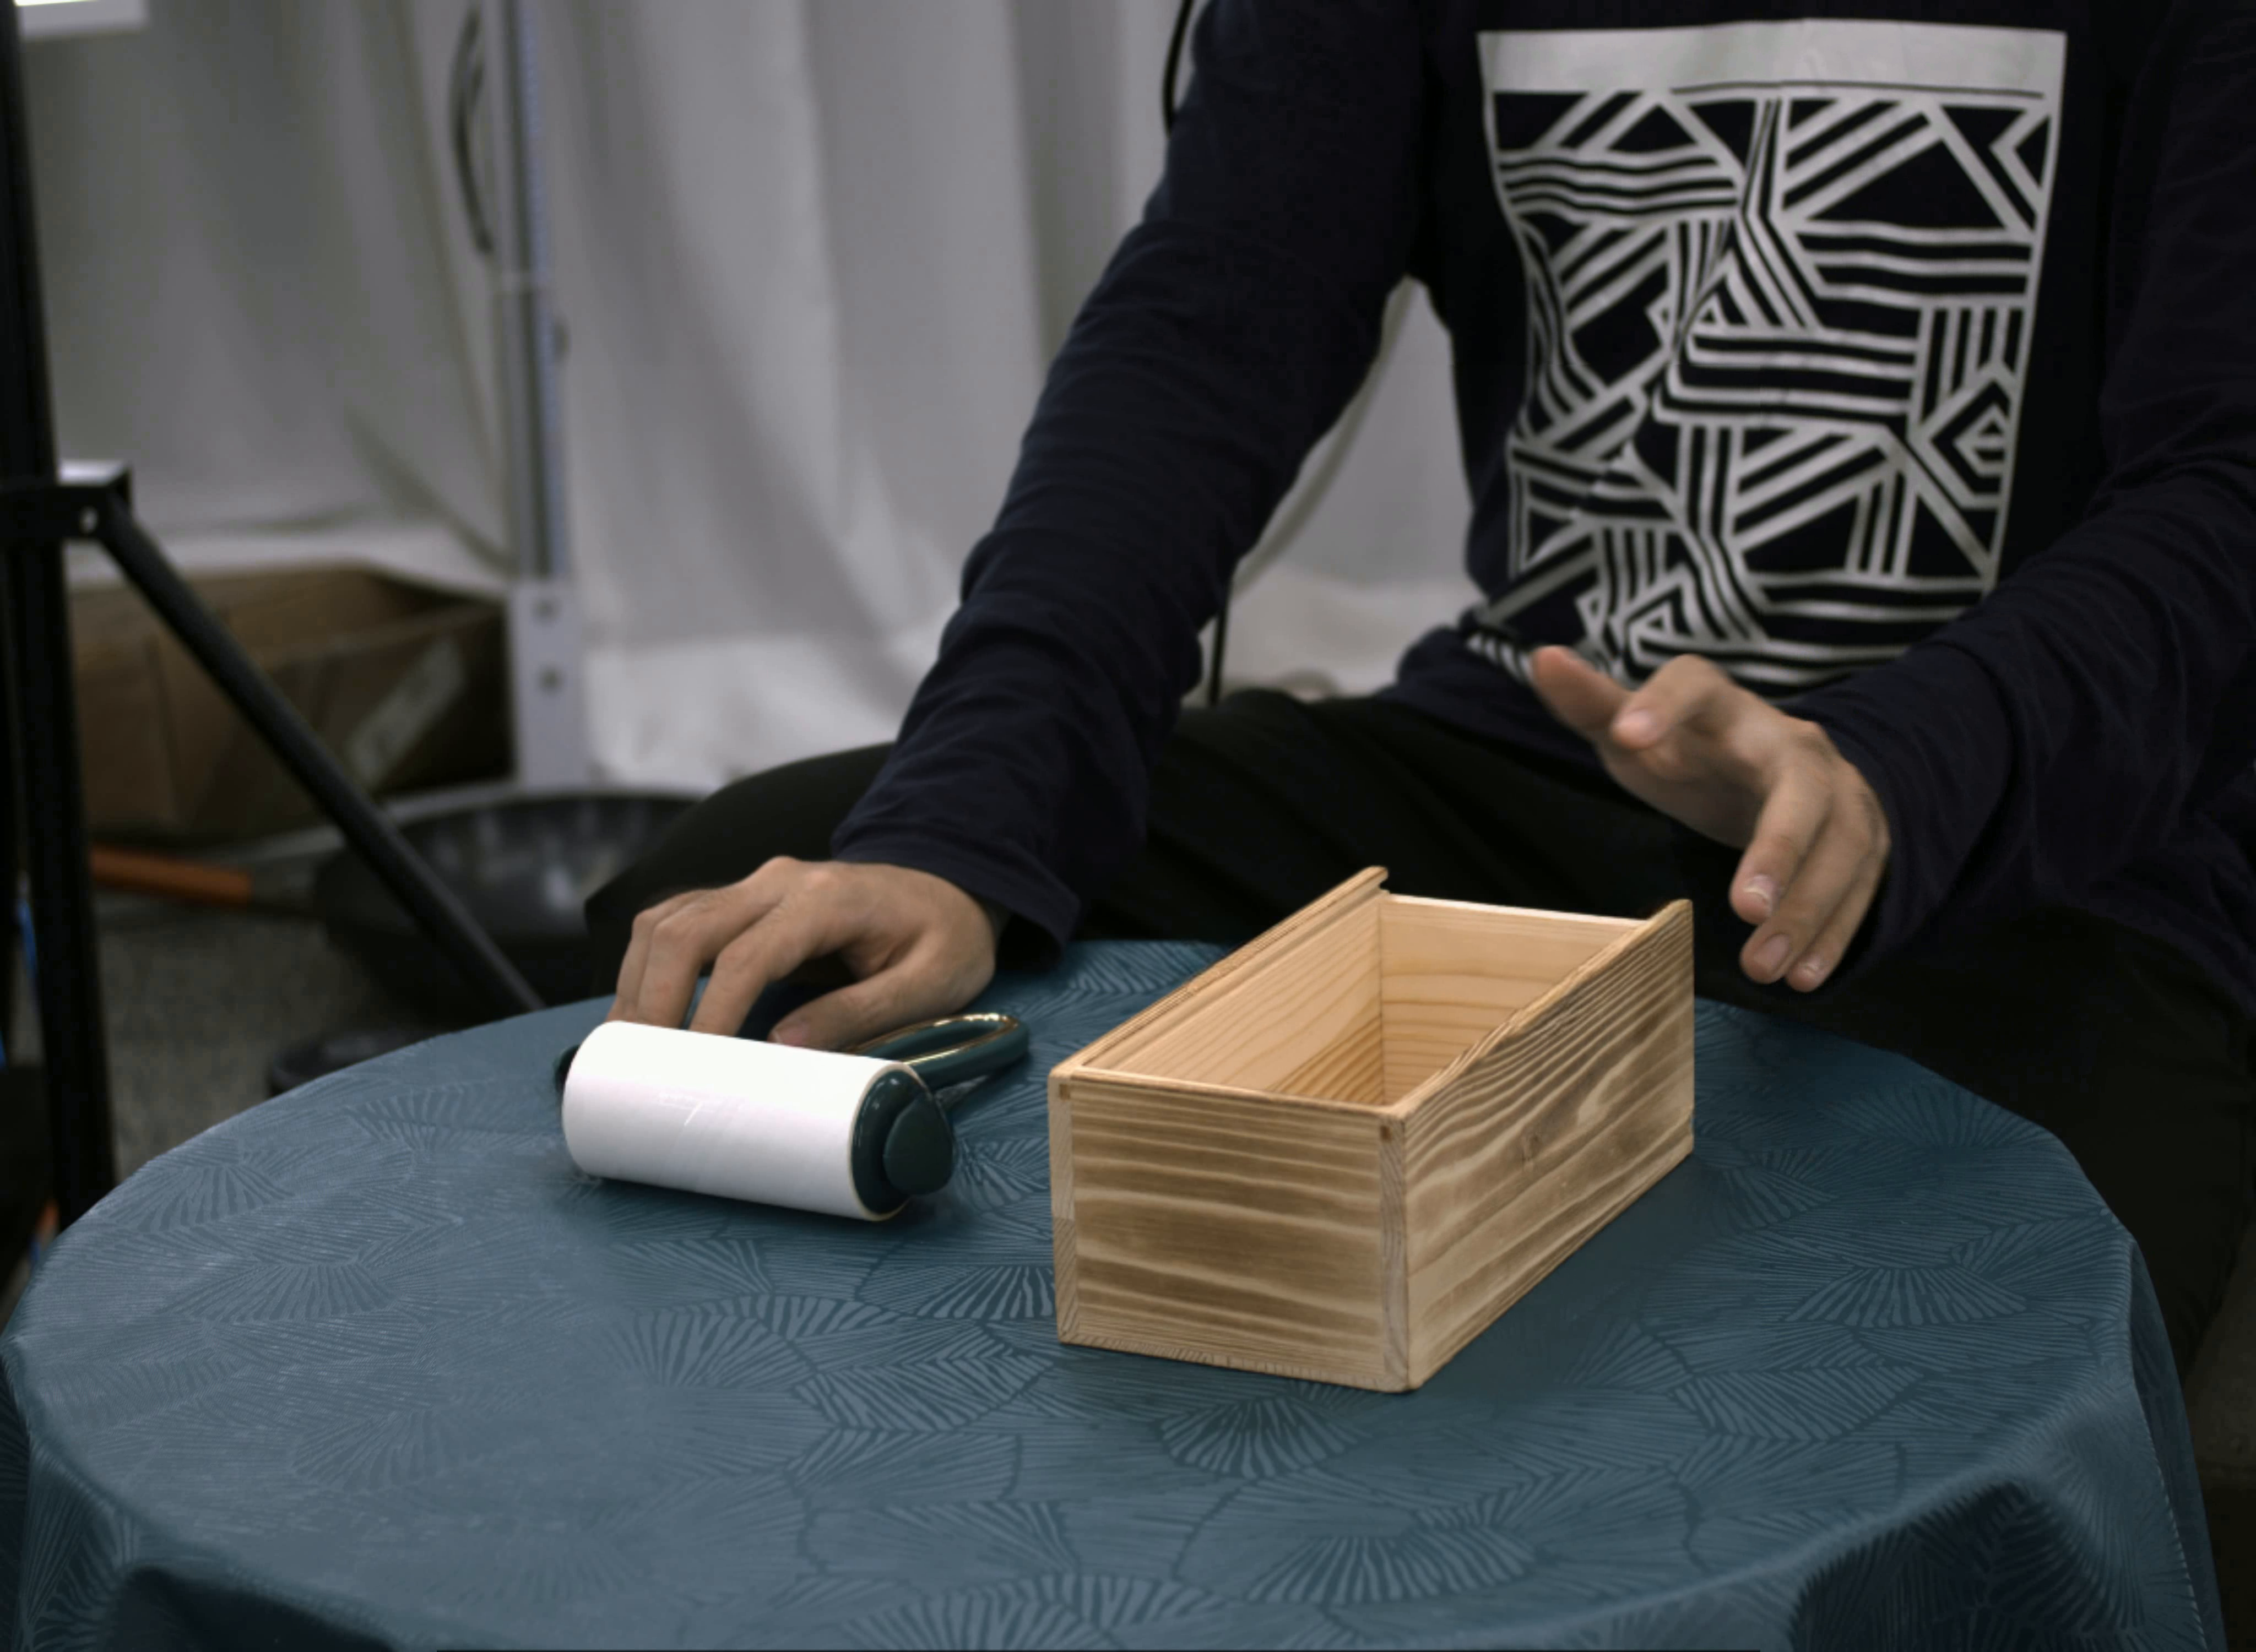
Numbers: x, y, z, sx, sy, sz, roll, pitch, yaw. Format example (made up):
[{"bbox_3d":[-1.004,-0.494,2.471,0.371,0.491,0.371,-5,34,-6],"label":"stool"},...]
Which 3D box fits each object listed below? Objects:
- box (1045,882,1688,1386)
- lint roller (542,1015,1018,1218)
[{"bbox_3d":[0.072,0.082,1.497,0.109,0.080,0.208,5,15,26],"label":"box"},{"bbox_3d":[-0.082,0.073,1.626,0.136,0.048,0.177,7,15,28],"label":"lint roller"}]
